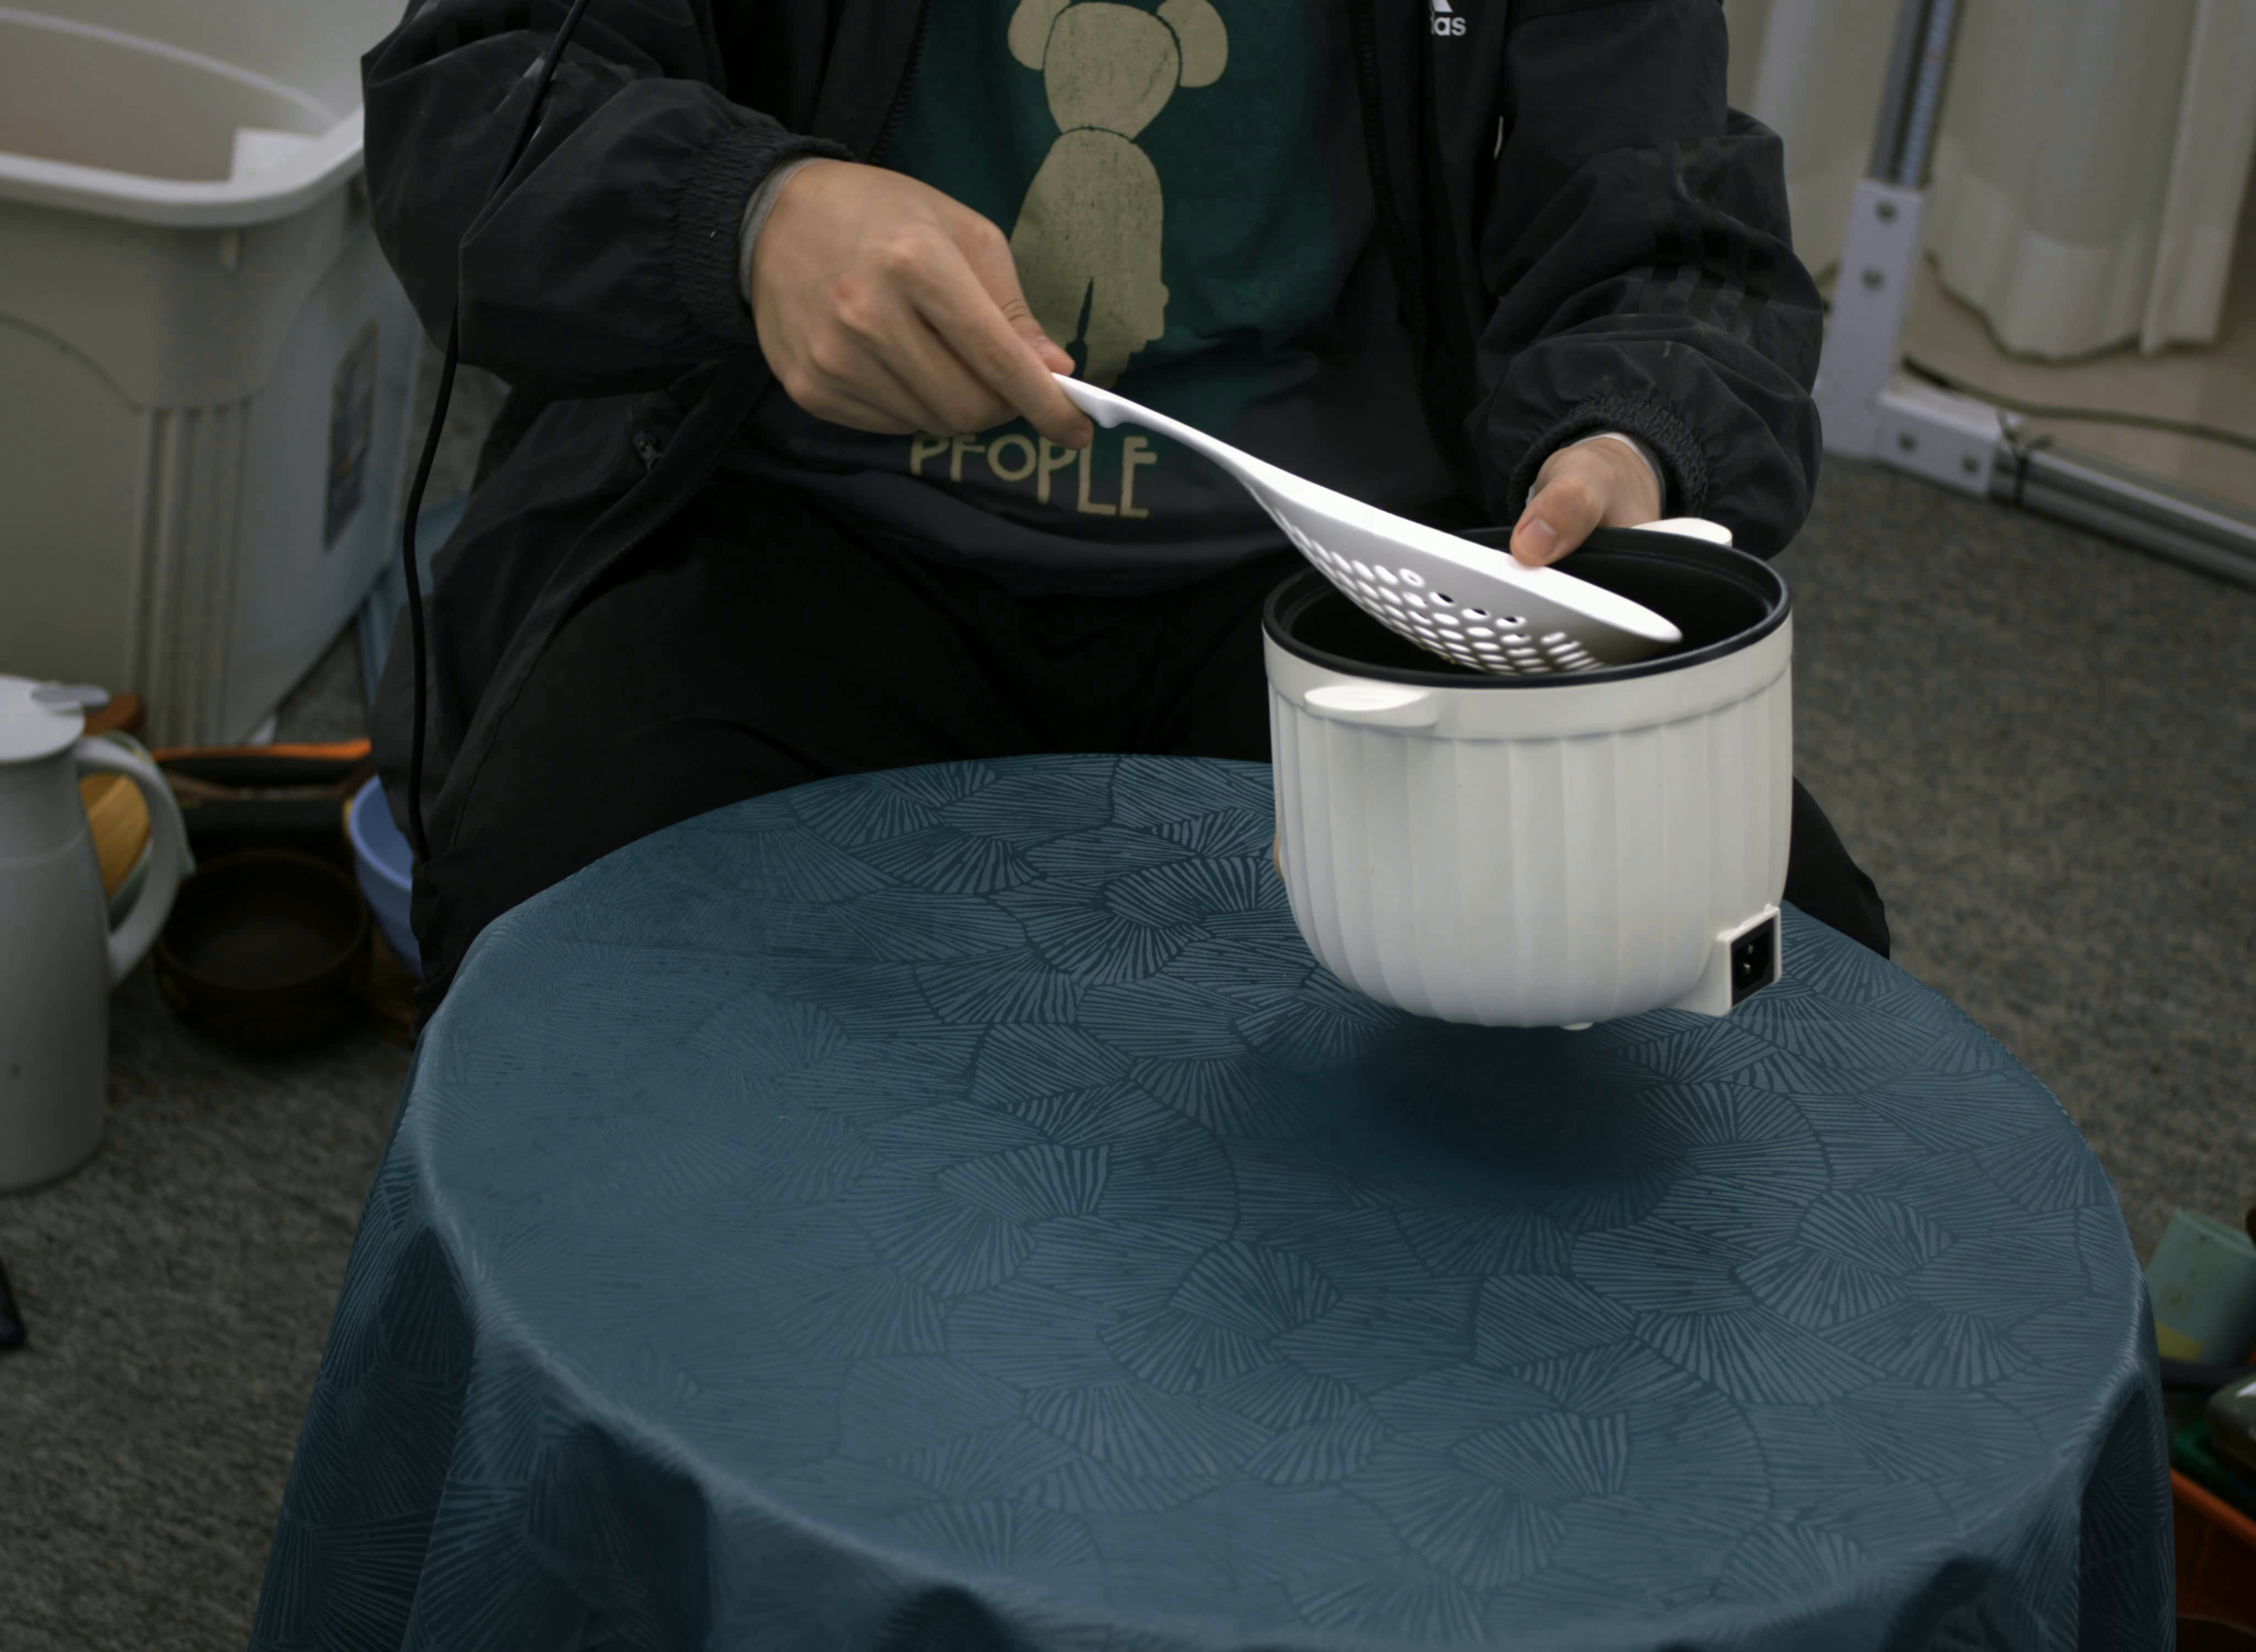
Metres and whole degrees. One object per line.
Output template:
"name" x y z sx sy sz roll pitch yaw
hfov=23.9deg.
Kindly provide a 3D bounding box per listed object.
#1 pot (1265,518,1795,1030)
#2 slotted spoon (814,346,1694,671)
"pot" 0.134 -0.016 1.841 0.191 0.142 0.239 14 24 34
"slotted spoon" 0.037 -0.122 1.879 0.350 0.050 0.136 28 11 27
